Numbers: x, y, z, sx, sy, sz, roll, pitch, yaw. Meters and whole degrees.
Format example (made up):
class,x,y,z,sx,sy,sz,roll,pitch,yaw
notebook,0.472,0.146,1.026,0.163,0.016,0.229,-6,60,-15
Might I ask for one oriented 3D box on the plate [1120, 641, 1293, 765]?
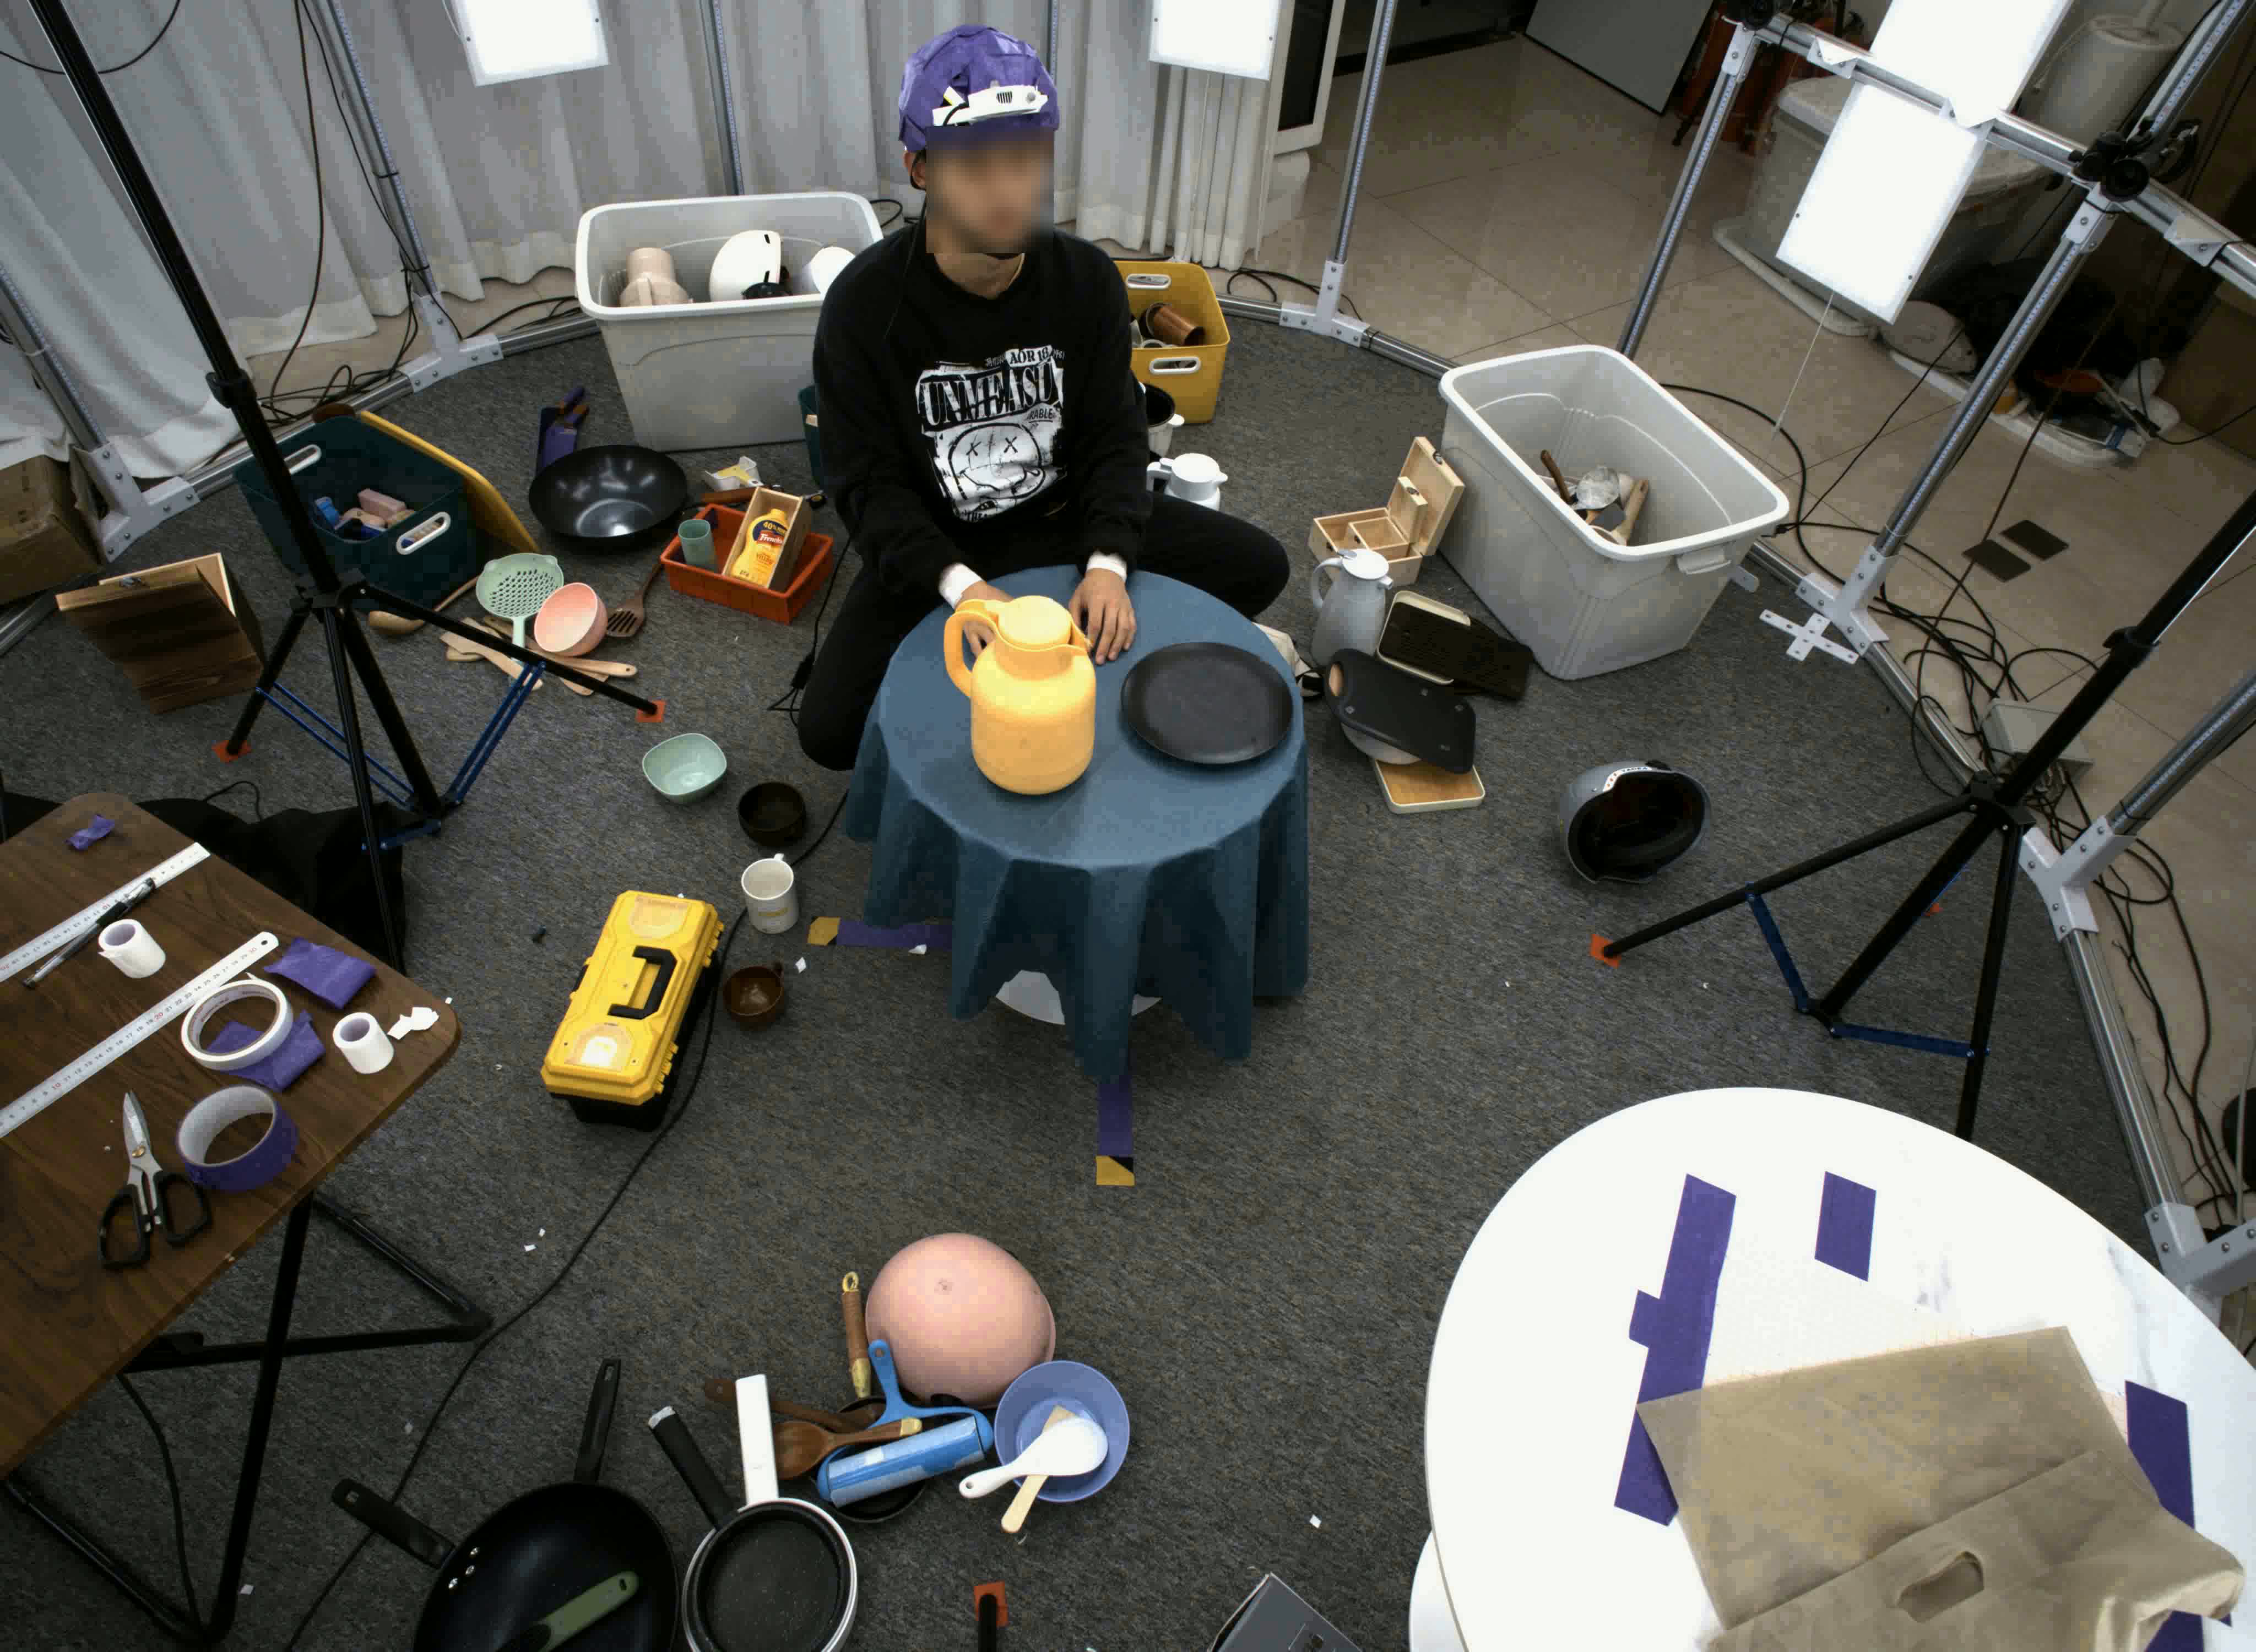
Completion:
class,x,y,z,sx,sy,sz,roll,pitch,yaw
plate,0.110,-0.171,1.809,0.244,0.023,0.250,2,49,-2

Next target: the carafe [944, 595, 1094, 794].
class,x,y,z,sx,sy,sz,roll,pitch,yaw
carafe,-0.141,-0.181,1.648,0.203,0.254,0.166,24,49,14
